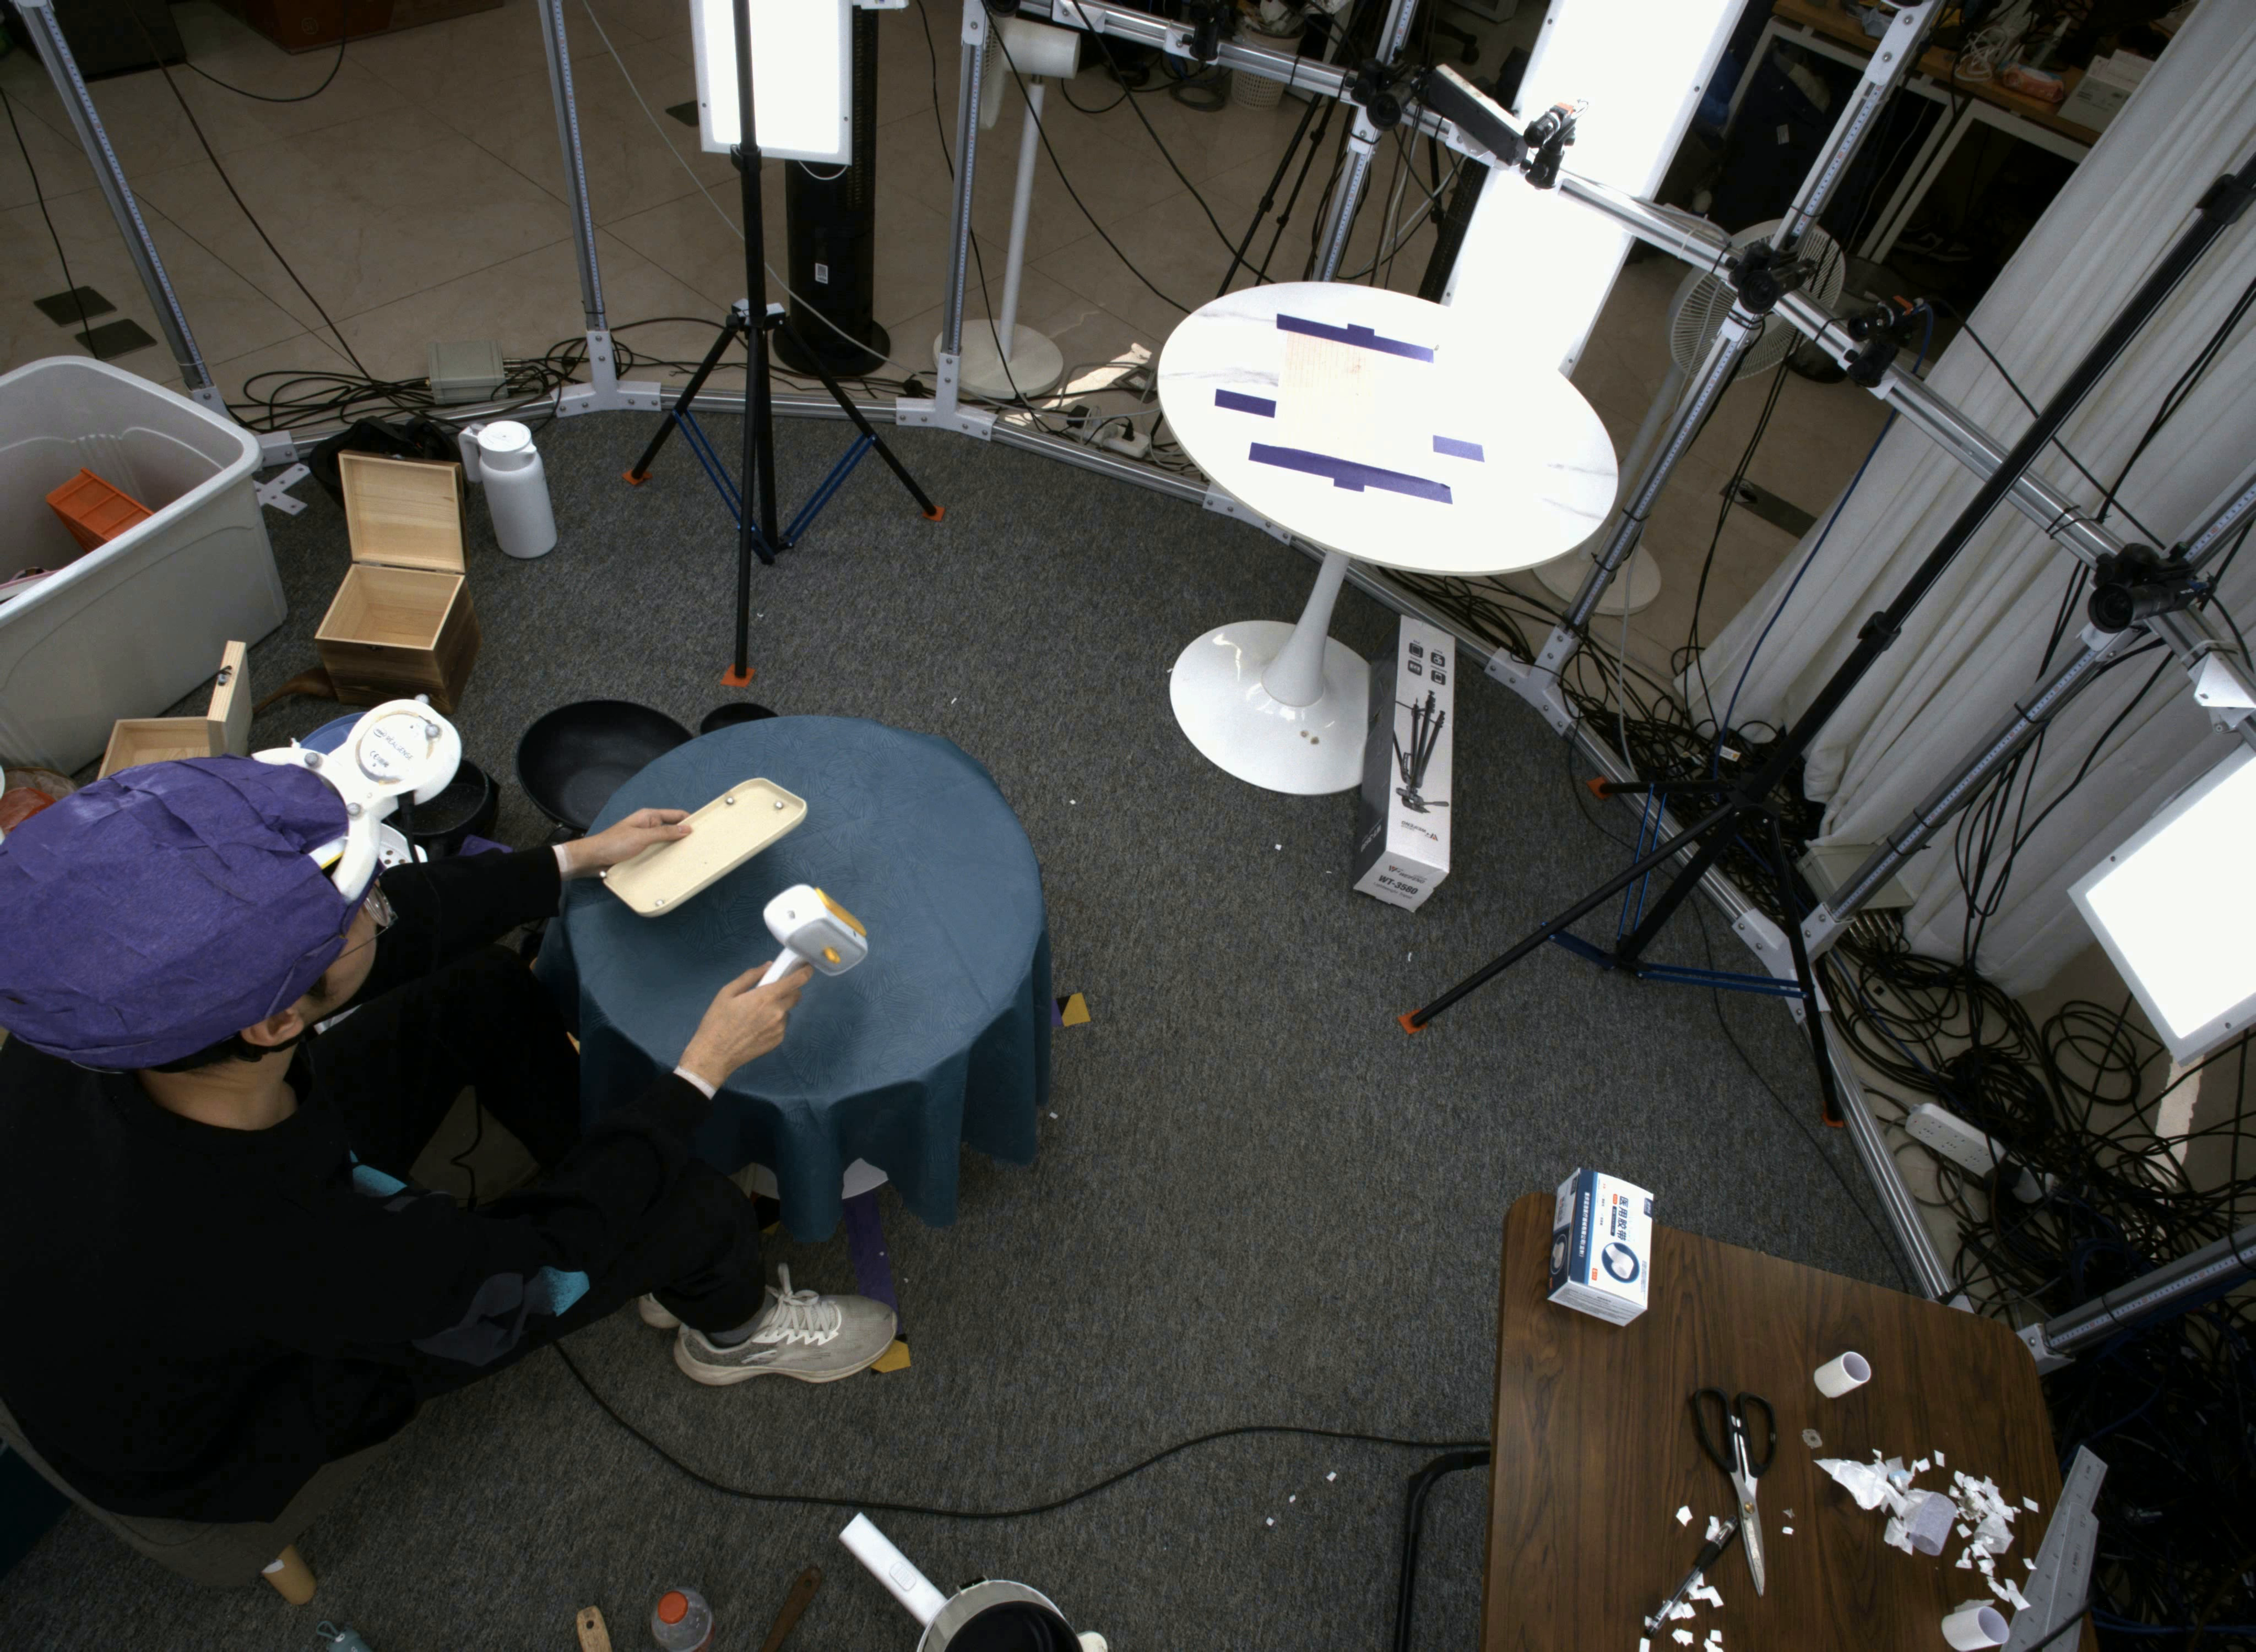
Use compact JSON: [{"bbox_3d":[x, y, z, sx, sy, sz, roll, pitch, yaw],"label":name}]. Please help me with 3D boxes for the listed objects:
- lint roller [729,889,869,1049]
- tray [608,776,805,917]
[{"bbox_3d":[-0.392,0.164,1.474,0.192,0.196,0.073,-44,76,-3],"label":"lint roller"},{"bbox_3d":[-0.516,0.022,1.577,0.240,0.018,0.165,-38,36,-25],"label":"tray"}]
